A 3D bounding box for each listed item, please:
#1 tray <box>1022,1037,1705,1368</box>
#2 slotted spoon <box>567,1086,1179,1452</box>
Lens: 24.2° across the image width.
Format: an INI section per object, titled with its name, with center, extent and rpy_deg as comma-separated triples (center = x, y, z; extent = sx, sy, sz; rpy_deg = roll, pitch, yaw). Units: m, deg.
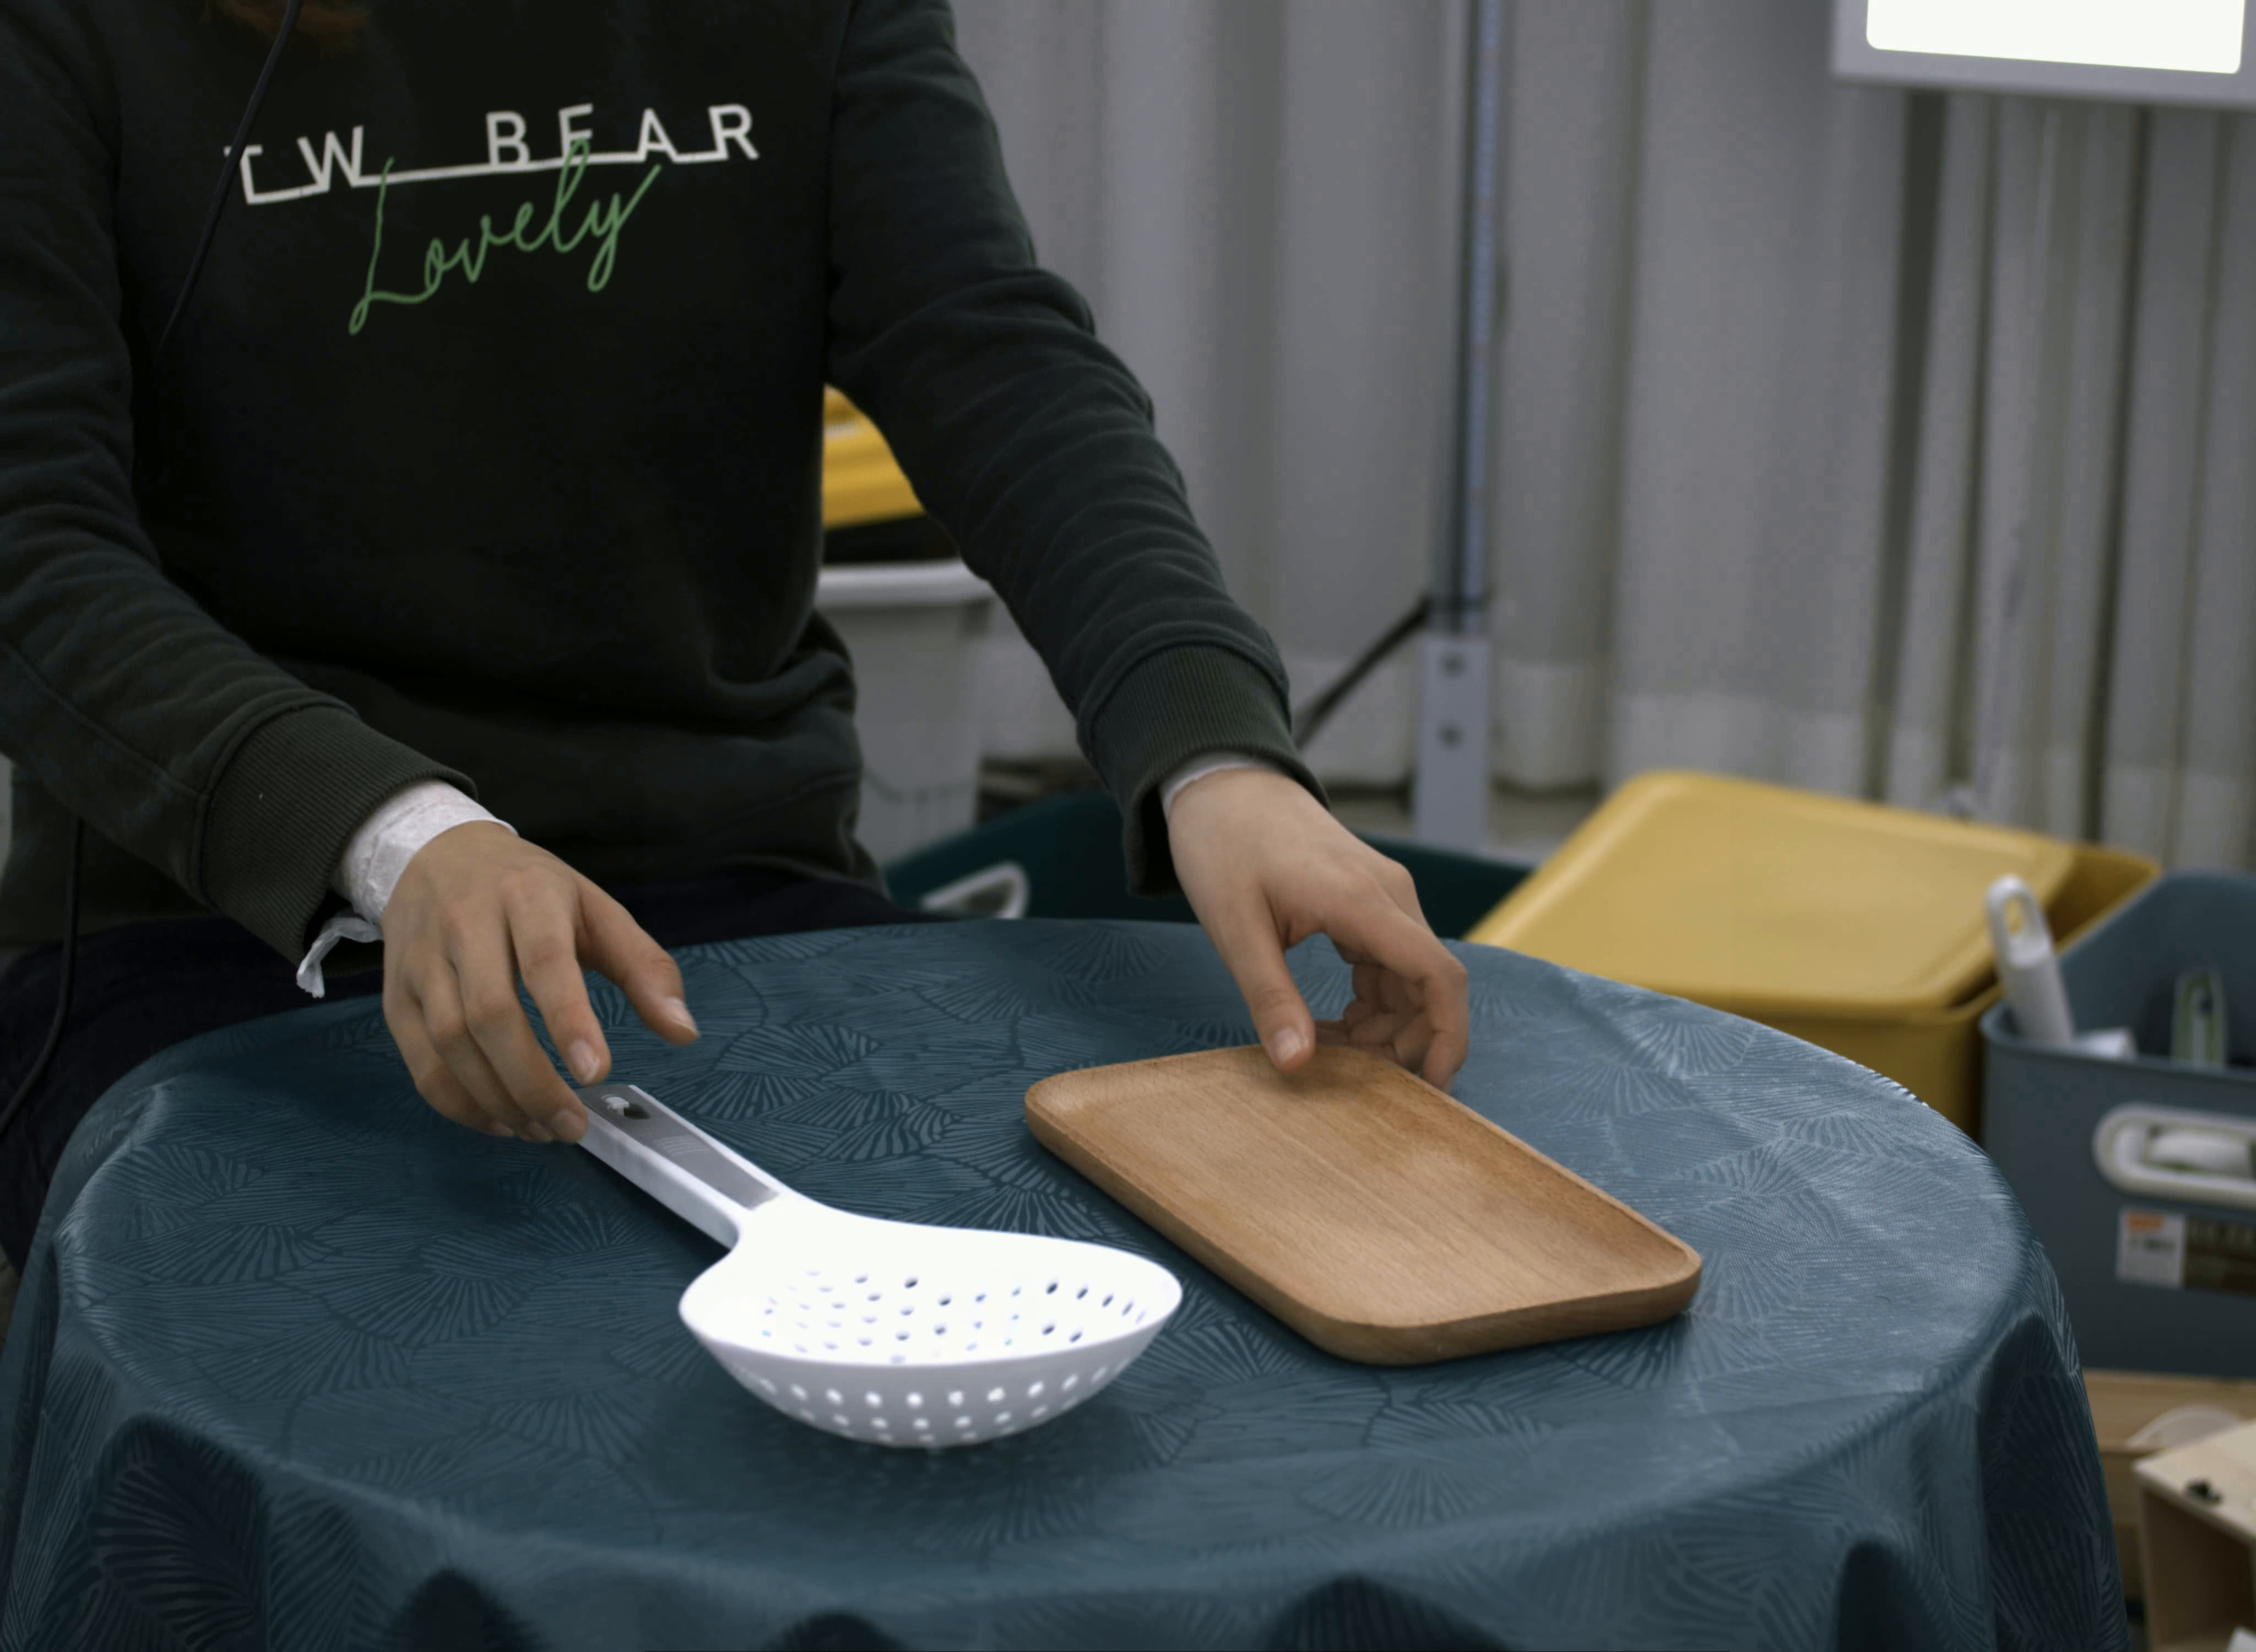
[tray]
center = 0.067, 0.111, 1.603
extent = 0.131, 0.023, 0.248
rpy_deg = -5, 16, -24
[slotted spoon]
center = -0.098, 0.118, 1.520
extent = 0.136, 0.046, 0.345
rpy_deg = -4, 16, -24
